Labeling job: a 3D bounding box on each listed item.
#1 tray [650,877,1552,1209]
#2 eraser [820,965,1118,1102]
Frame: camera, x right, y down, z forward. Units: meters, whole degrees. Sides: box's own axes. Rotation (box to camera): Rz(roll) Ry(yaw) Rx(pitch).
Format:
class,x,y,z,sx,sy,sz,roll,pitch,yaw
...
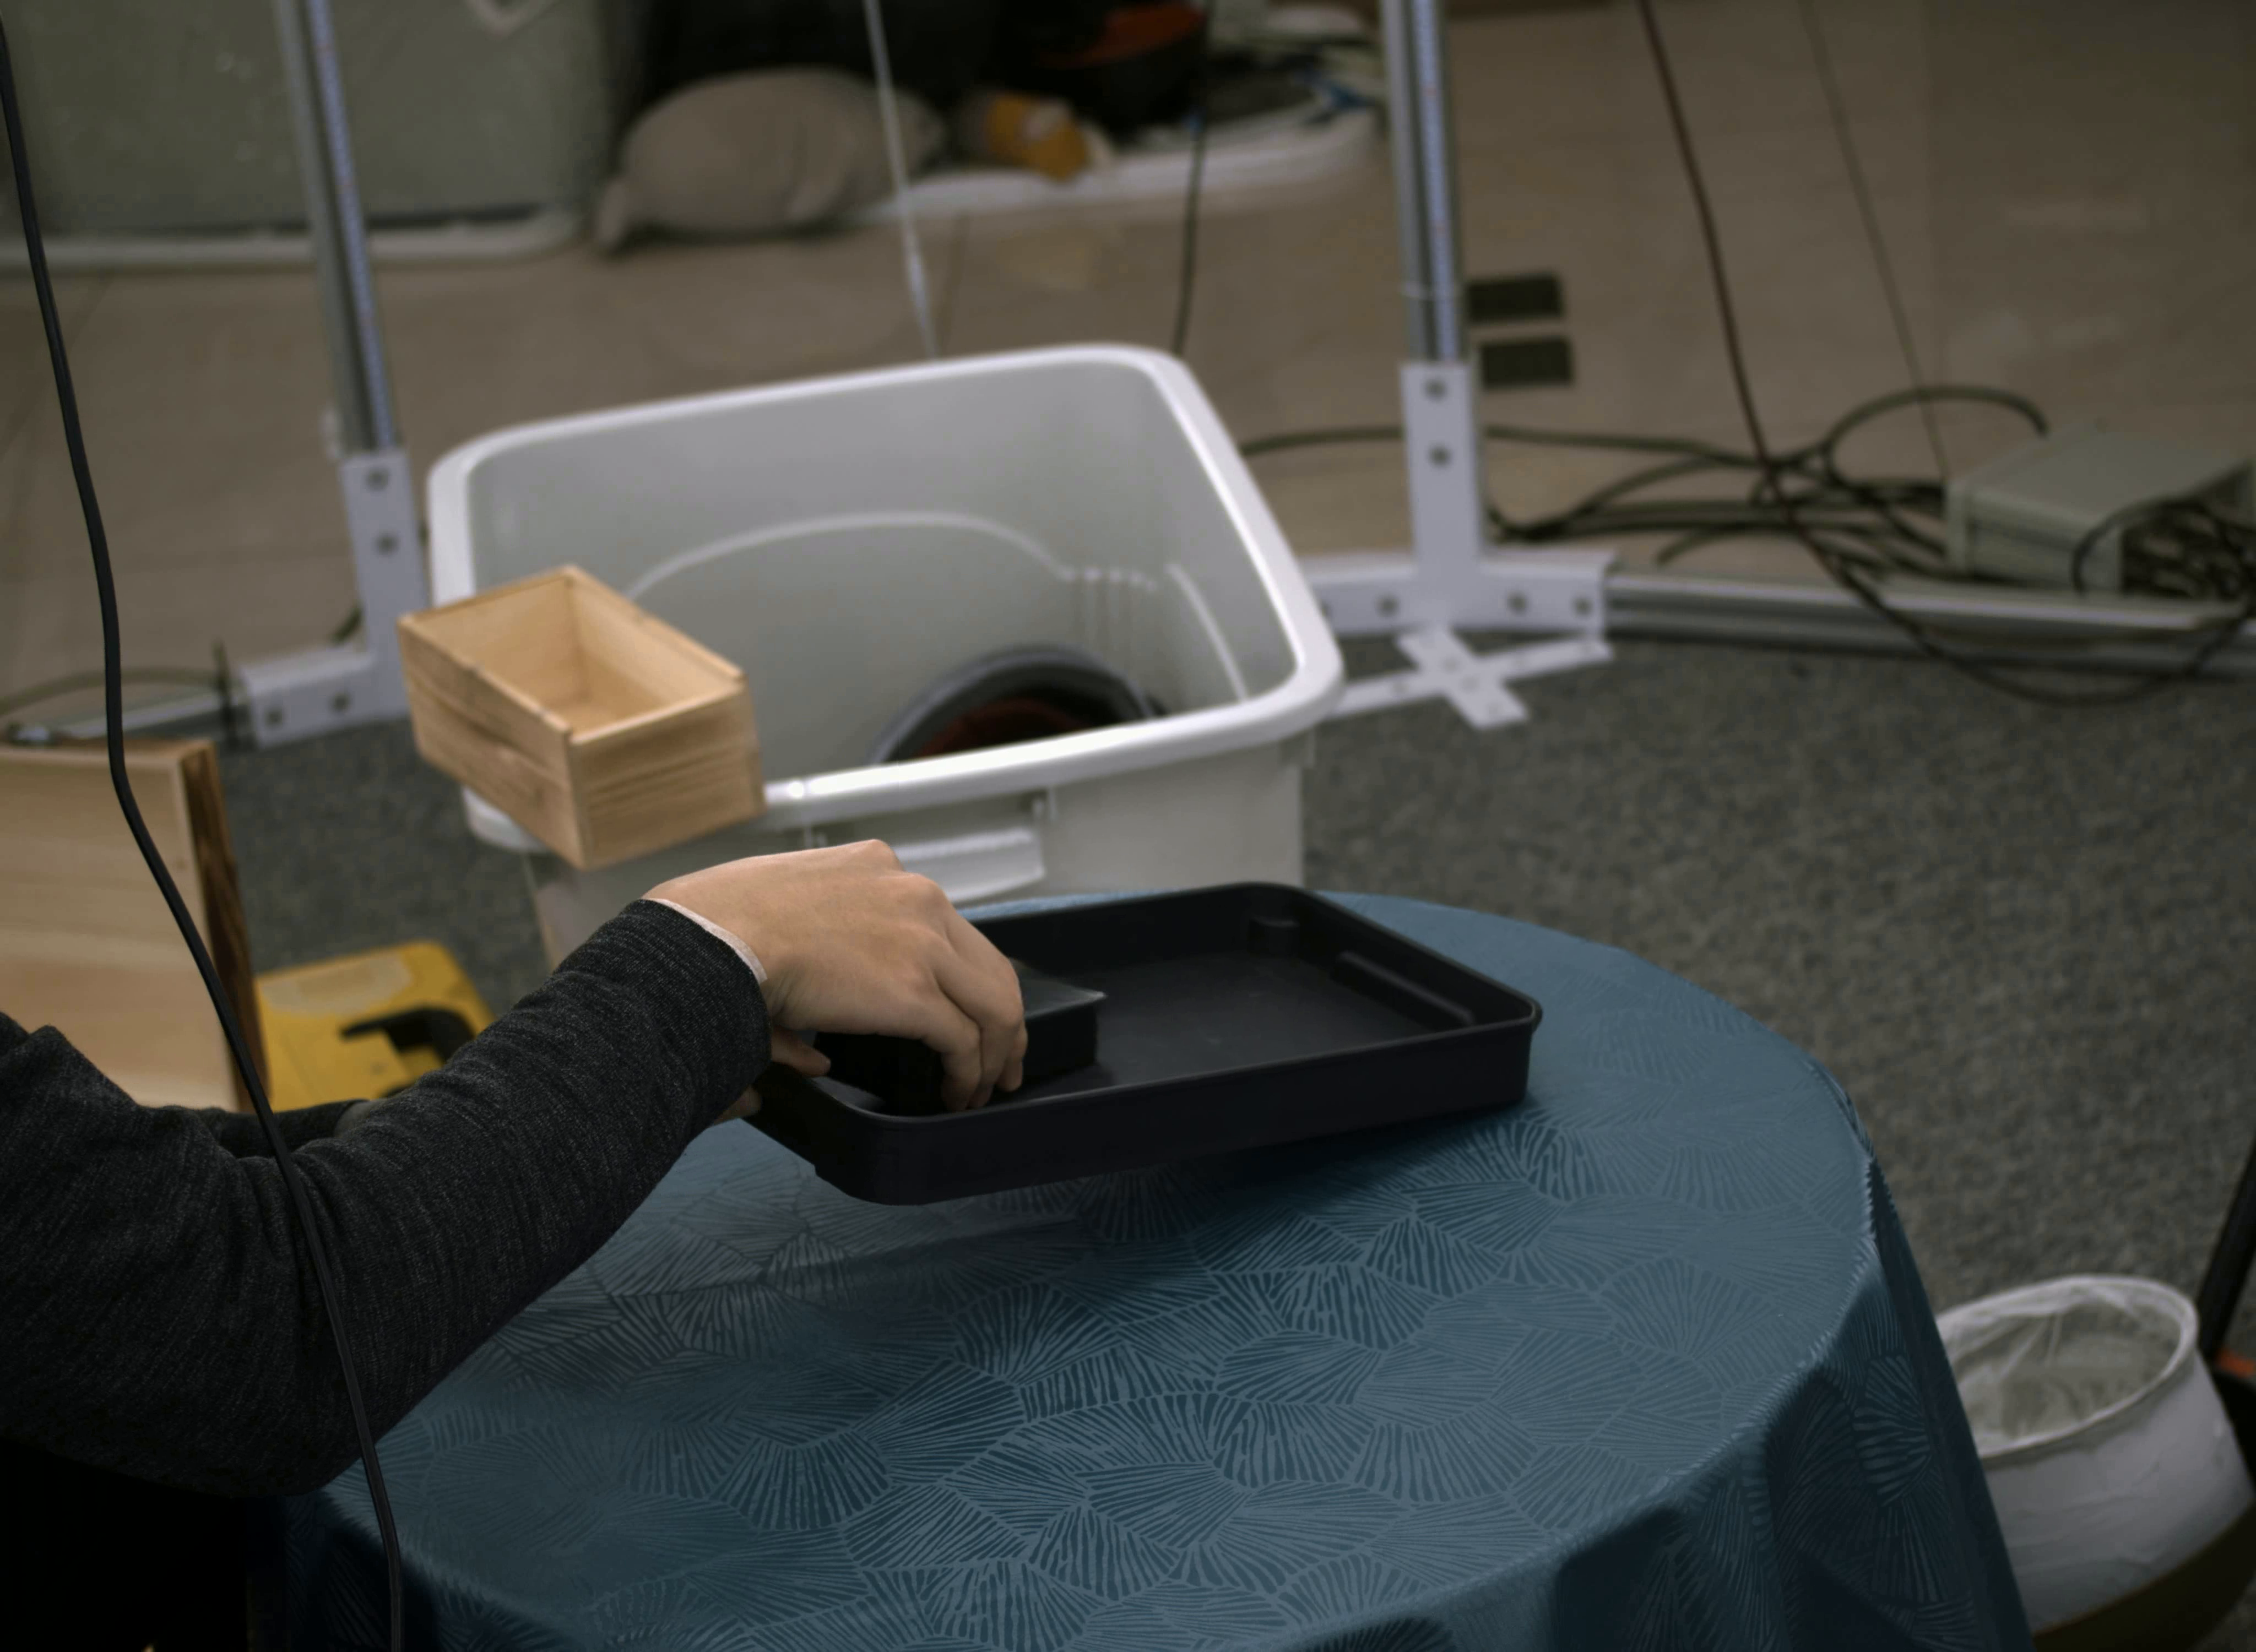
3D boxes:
class,x,y,z,sx,sy,sz,roll,pitch,yaw
tray,-0.009,0.078,2.158,0.317,0.037,0.182,-8,22,-36
eraser,-0.059,0.080,2.121,0.053,0.031,0.125,17,18,30
